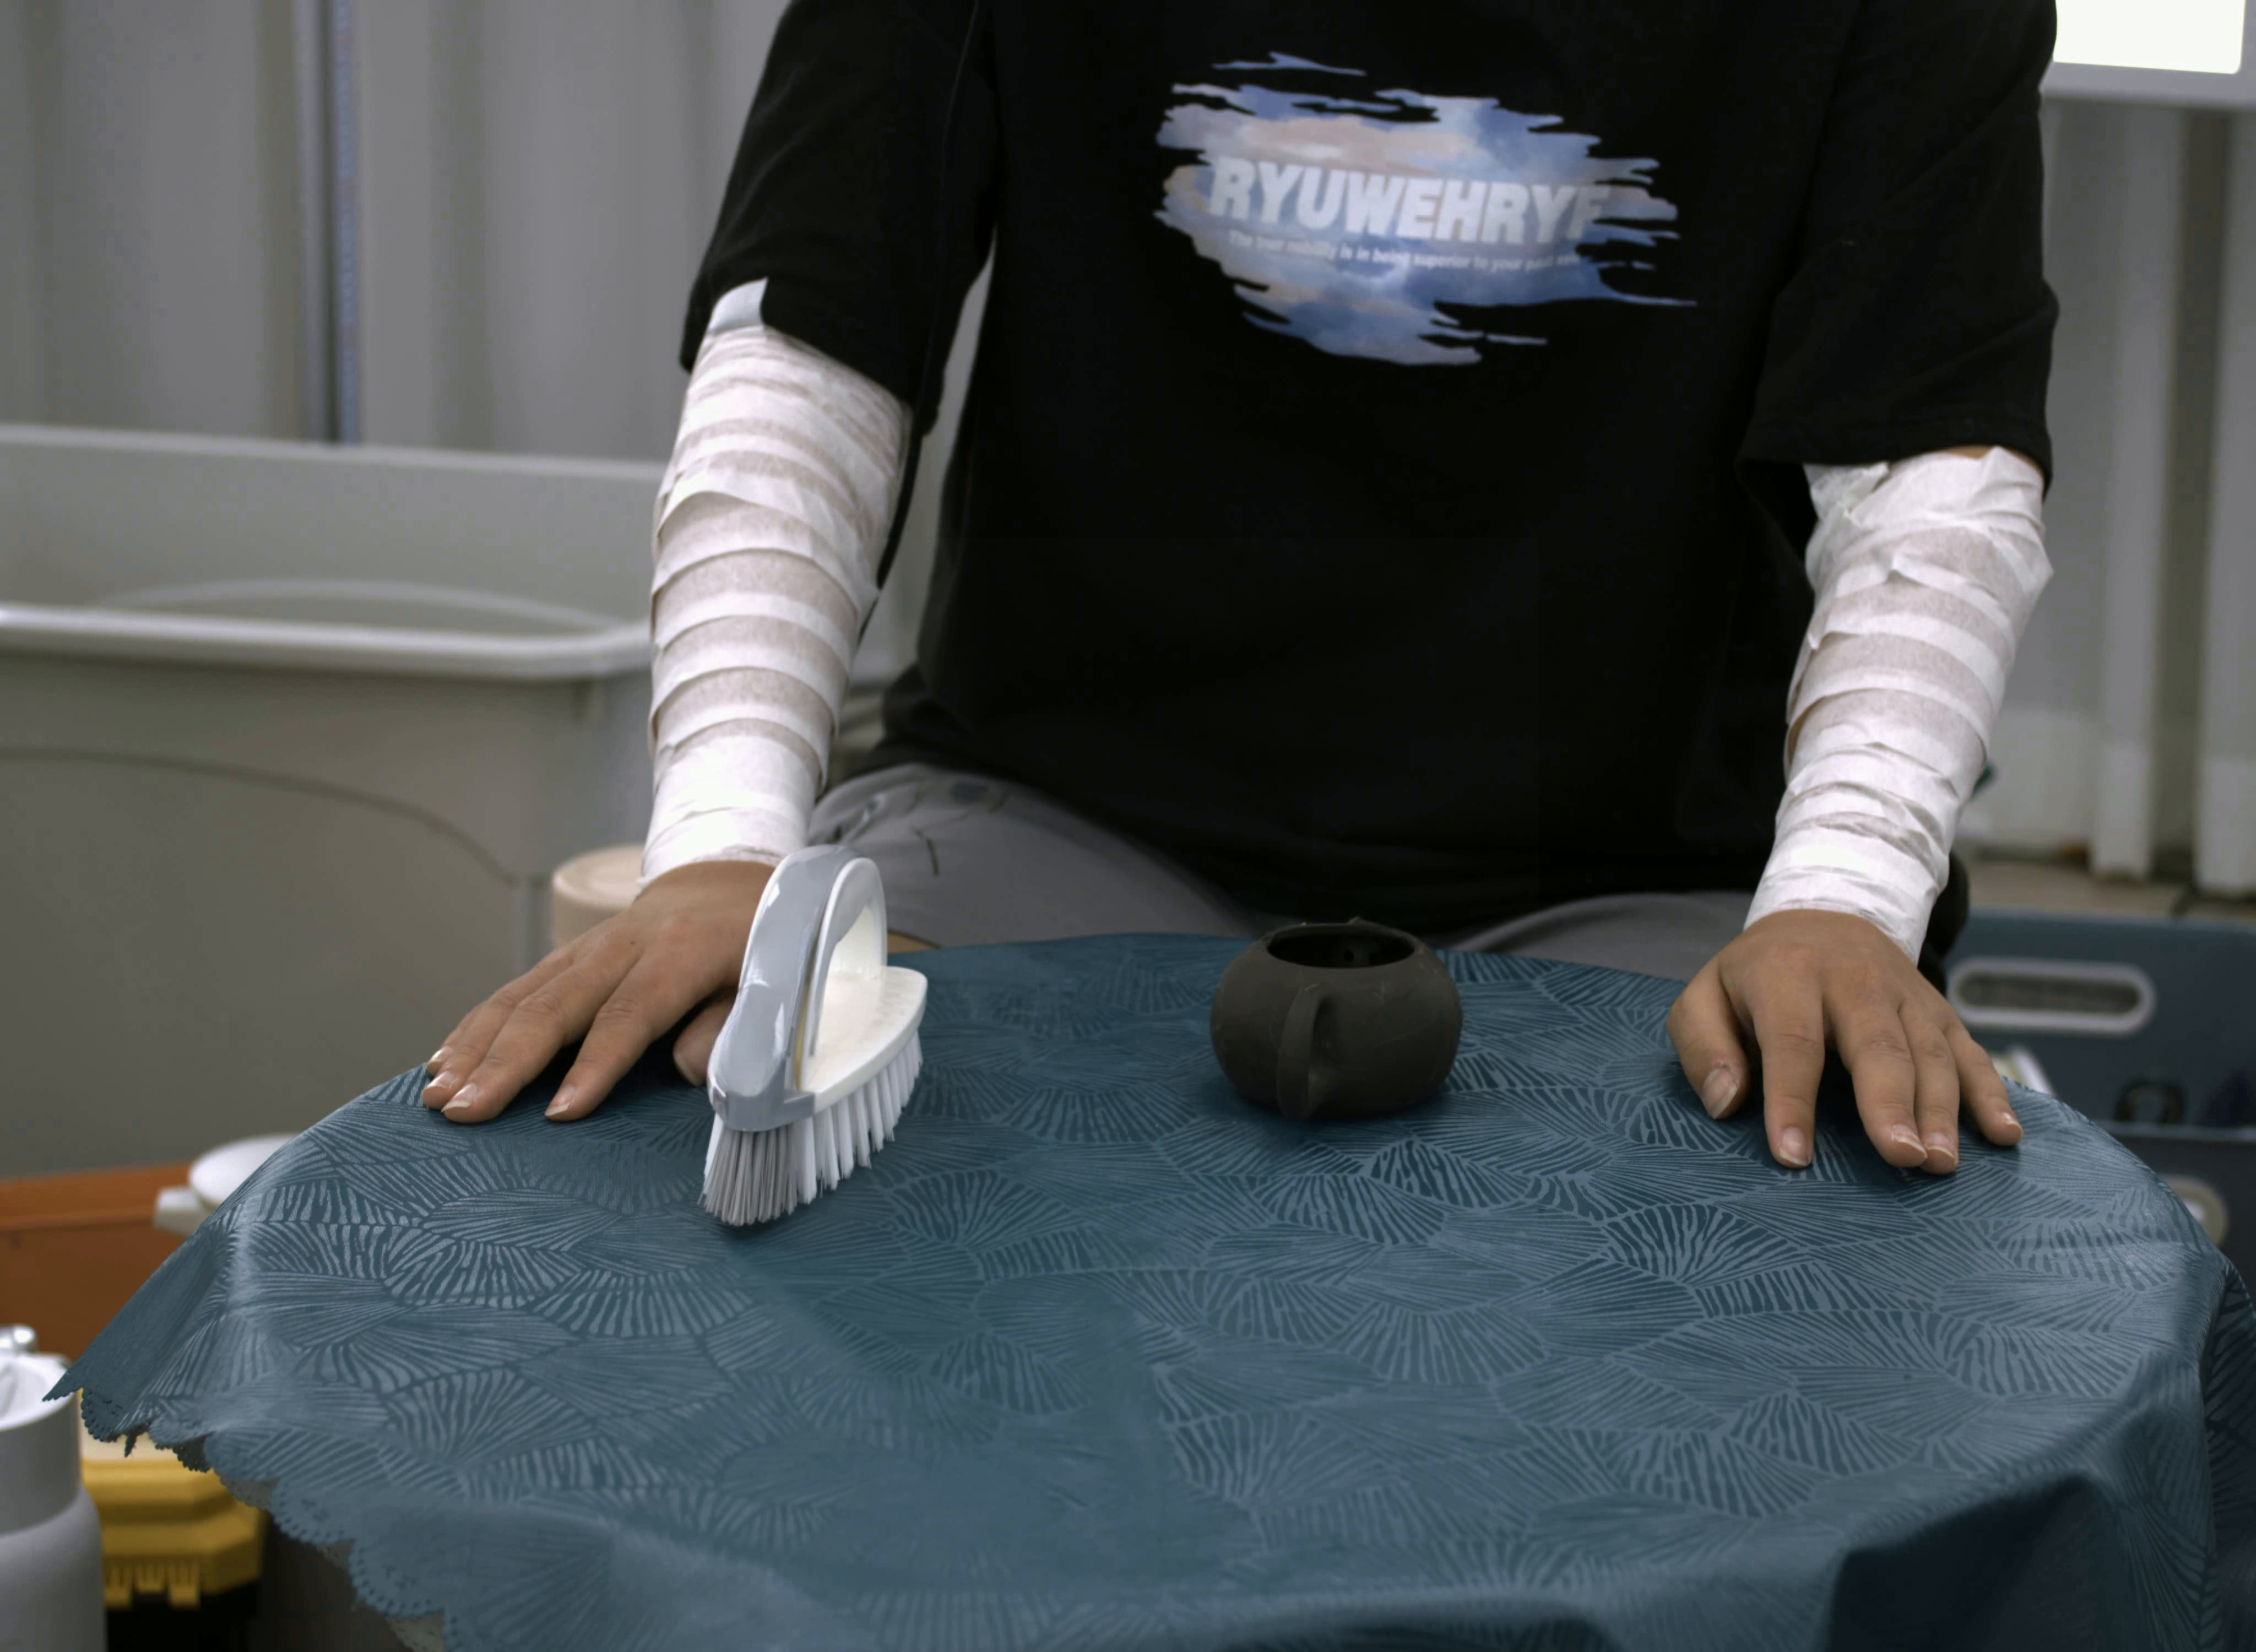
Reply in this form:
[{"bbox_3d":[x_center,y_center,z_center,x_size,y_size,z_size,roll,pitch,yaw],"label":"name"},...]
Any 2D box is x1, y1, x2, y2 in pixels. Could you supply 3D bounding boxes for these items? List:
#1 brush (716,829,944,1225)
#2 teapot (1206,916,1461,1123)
[{"bbox_3d":[-0.100,0.057,1.647,0.061,0.095,0.175,0,16,10],"label":"brush"},{"bbox_3d":[0.064,0.065,1.703,0.082,0.053,0.114,5,14,14],"label":"teapot"}]
